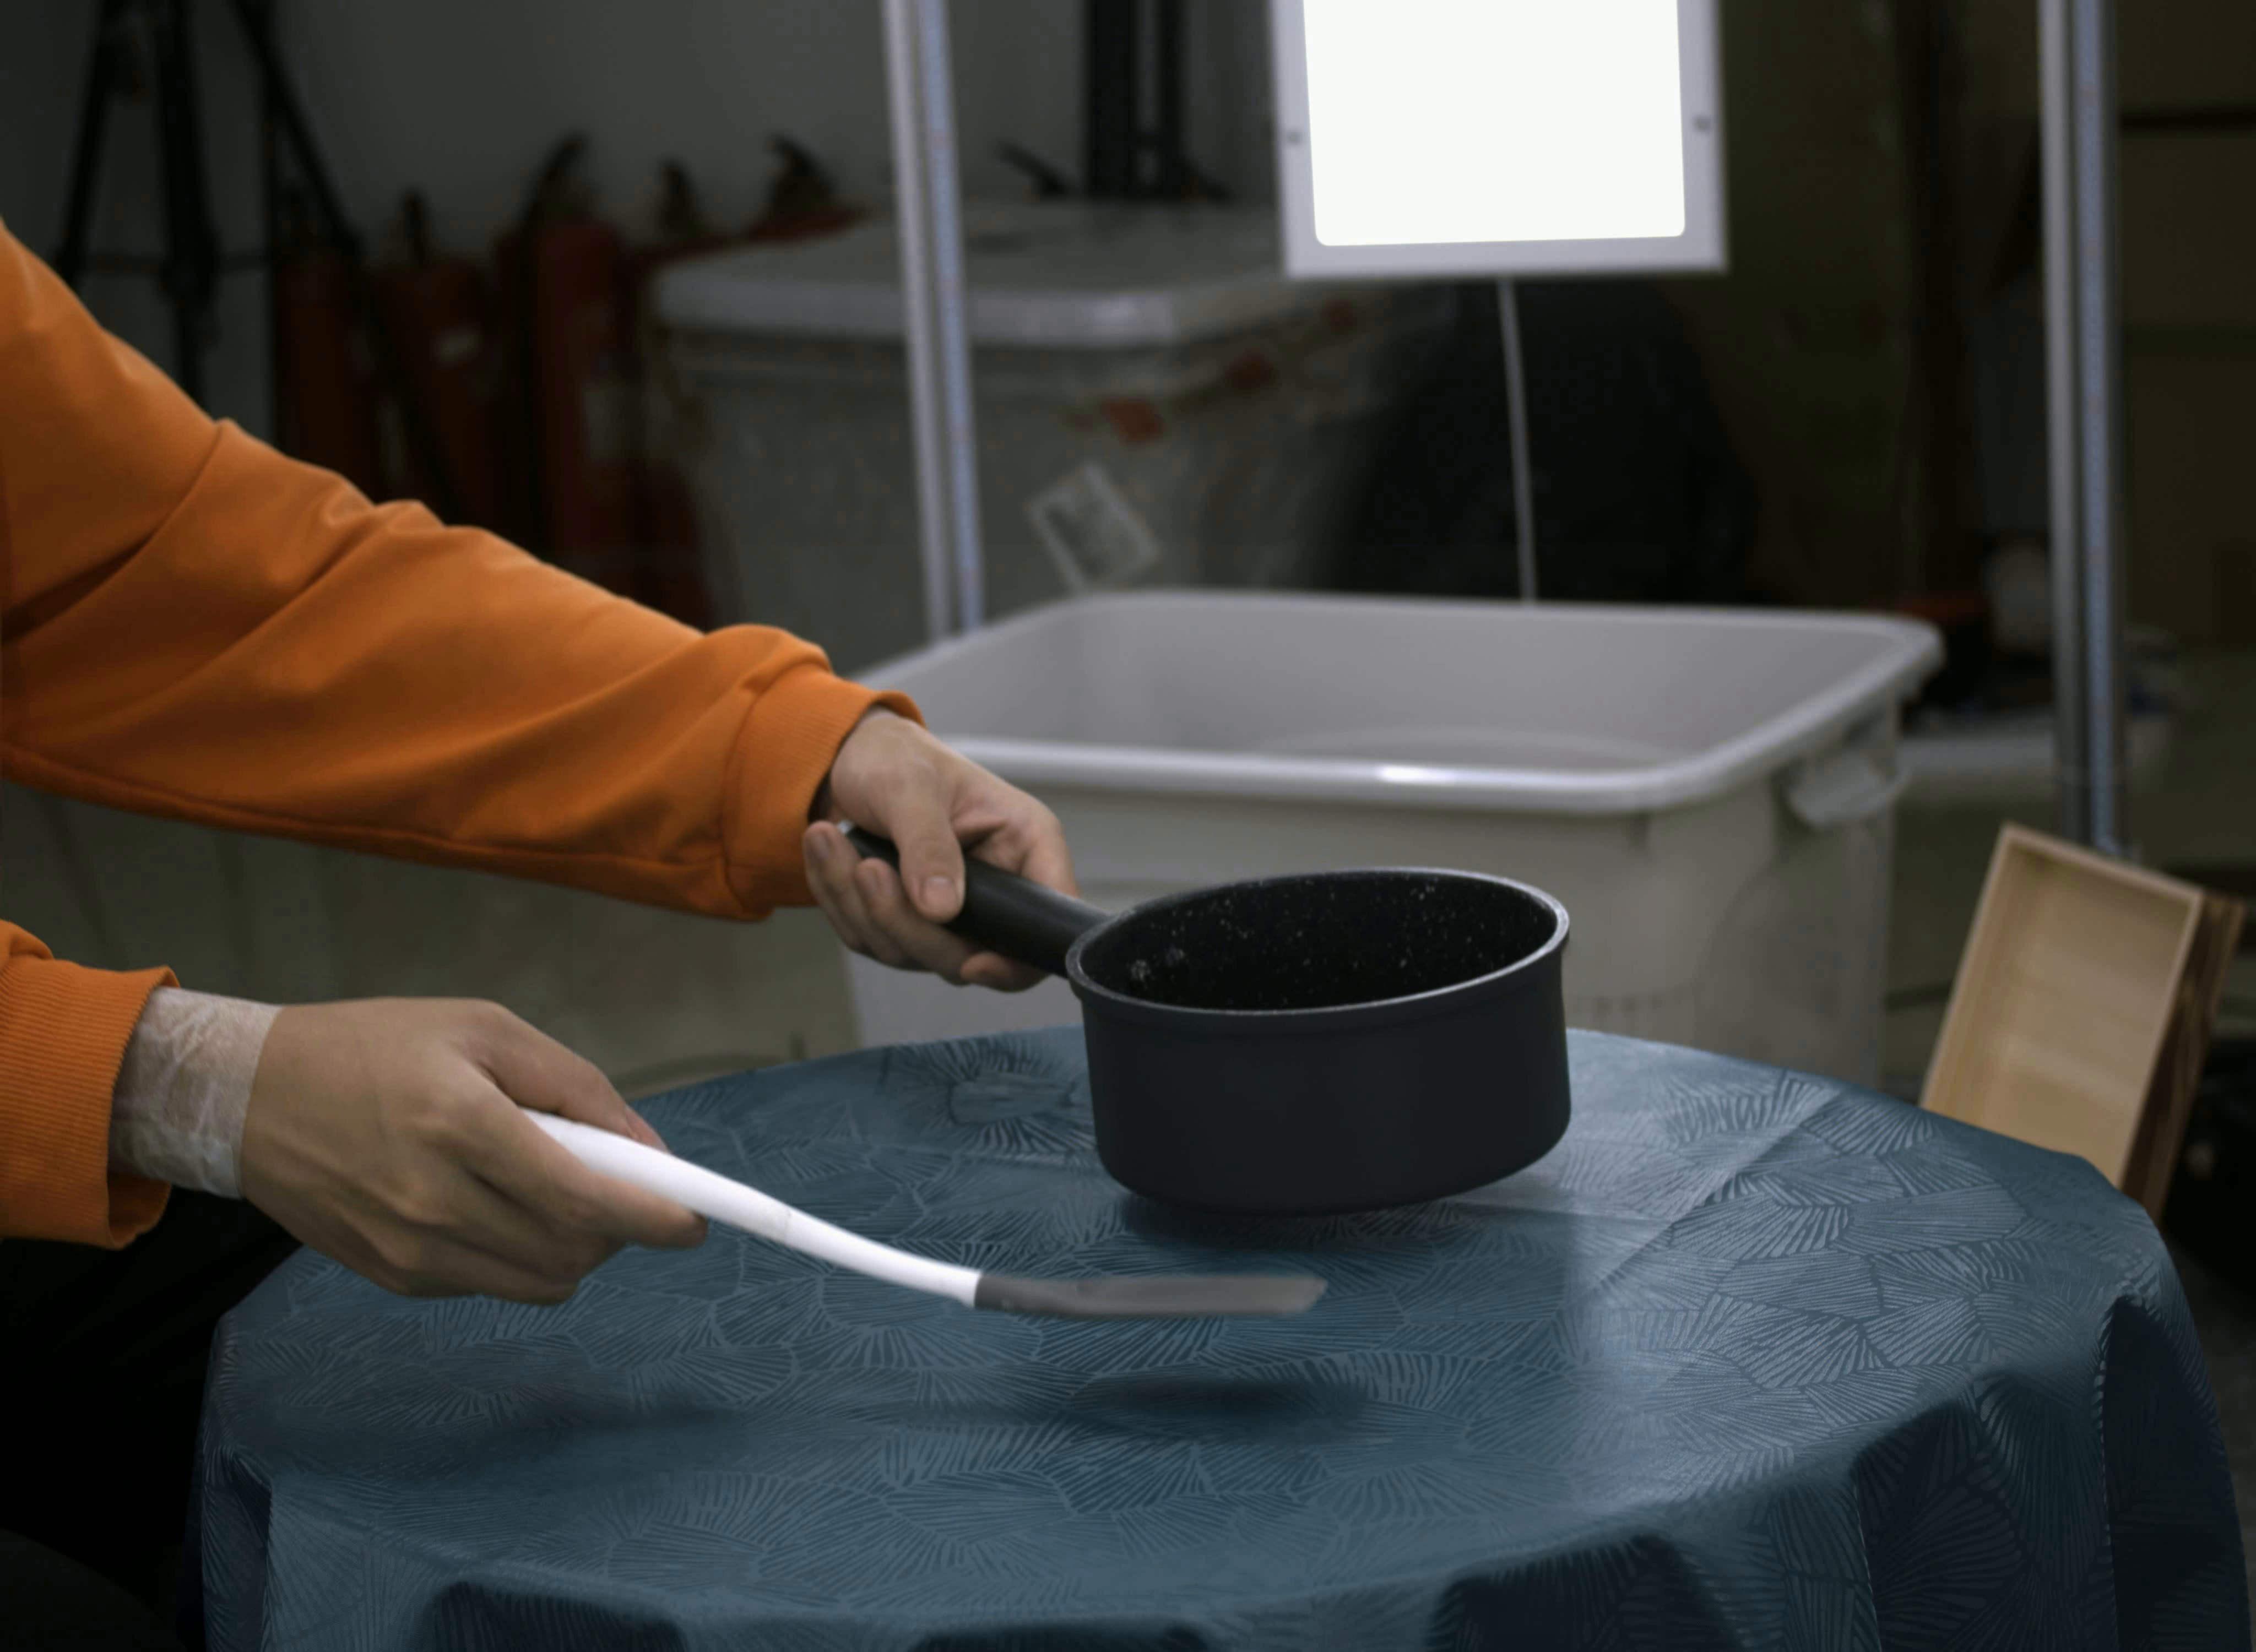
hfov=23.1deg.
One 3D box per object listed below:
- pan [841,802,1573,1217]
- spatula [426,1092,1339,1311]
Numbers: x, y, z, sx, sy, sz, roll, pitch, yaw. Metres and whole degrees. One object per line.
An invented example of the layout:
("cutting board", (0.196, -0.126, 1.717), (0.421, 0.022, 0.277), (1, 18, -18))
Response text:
("pan", (0.014, 0.058, 1.928), (0.167, 0.087, 0.336), (-17, 19, -38))
("spatula", (-0.078, 0.123, 1.705), (0.290, 0.032, 0.058), (10, 5, 13))
